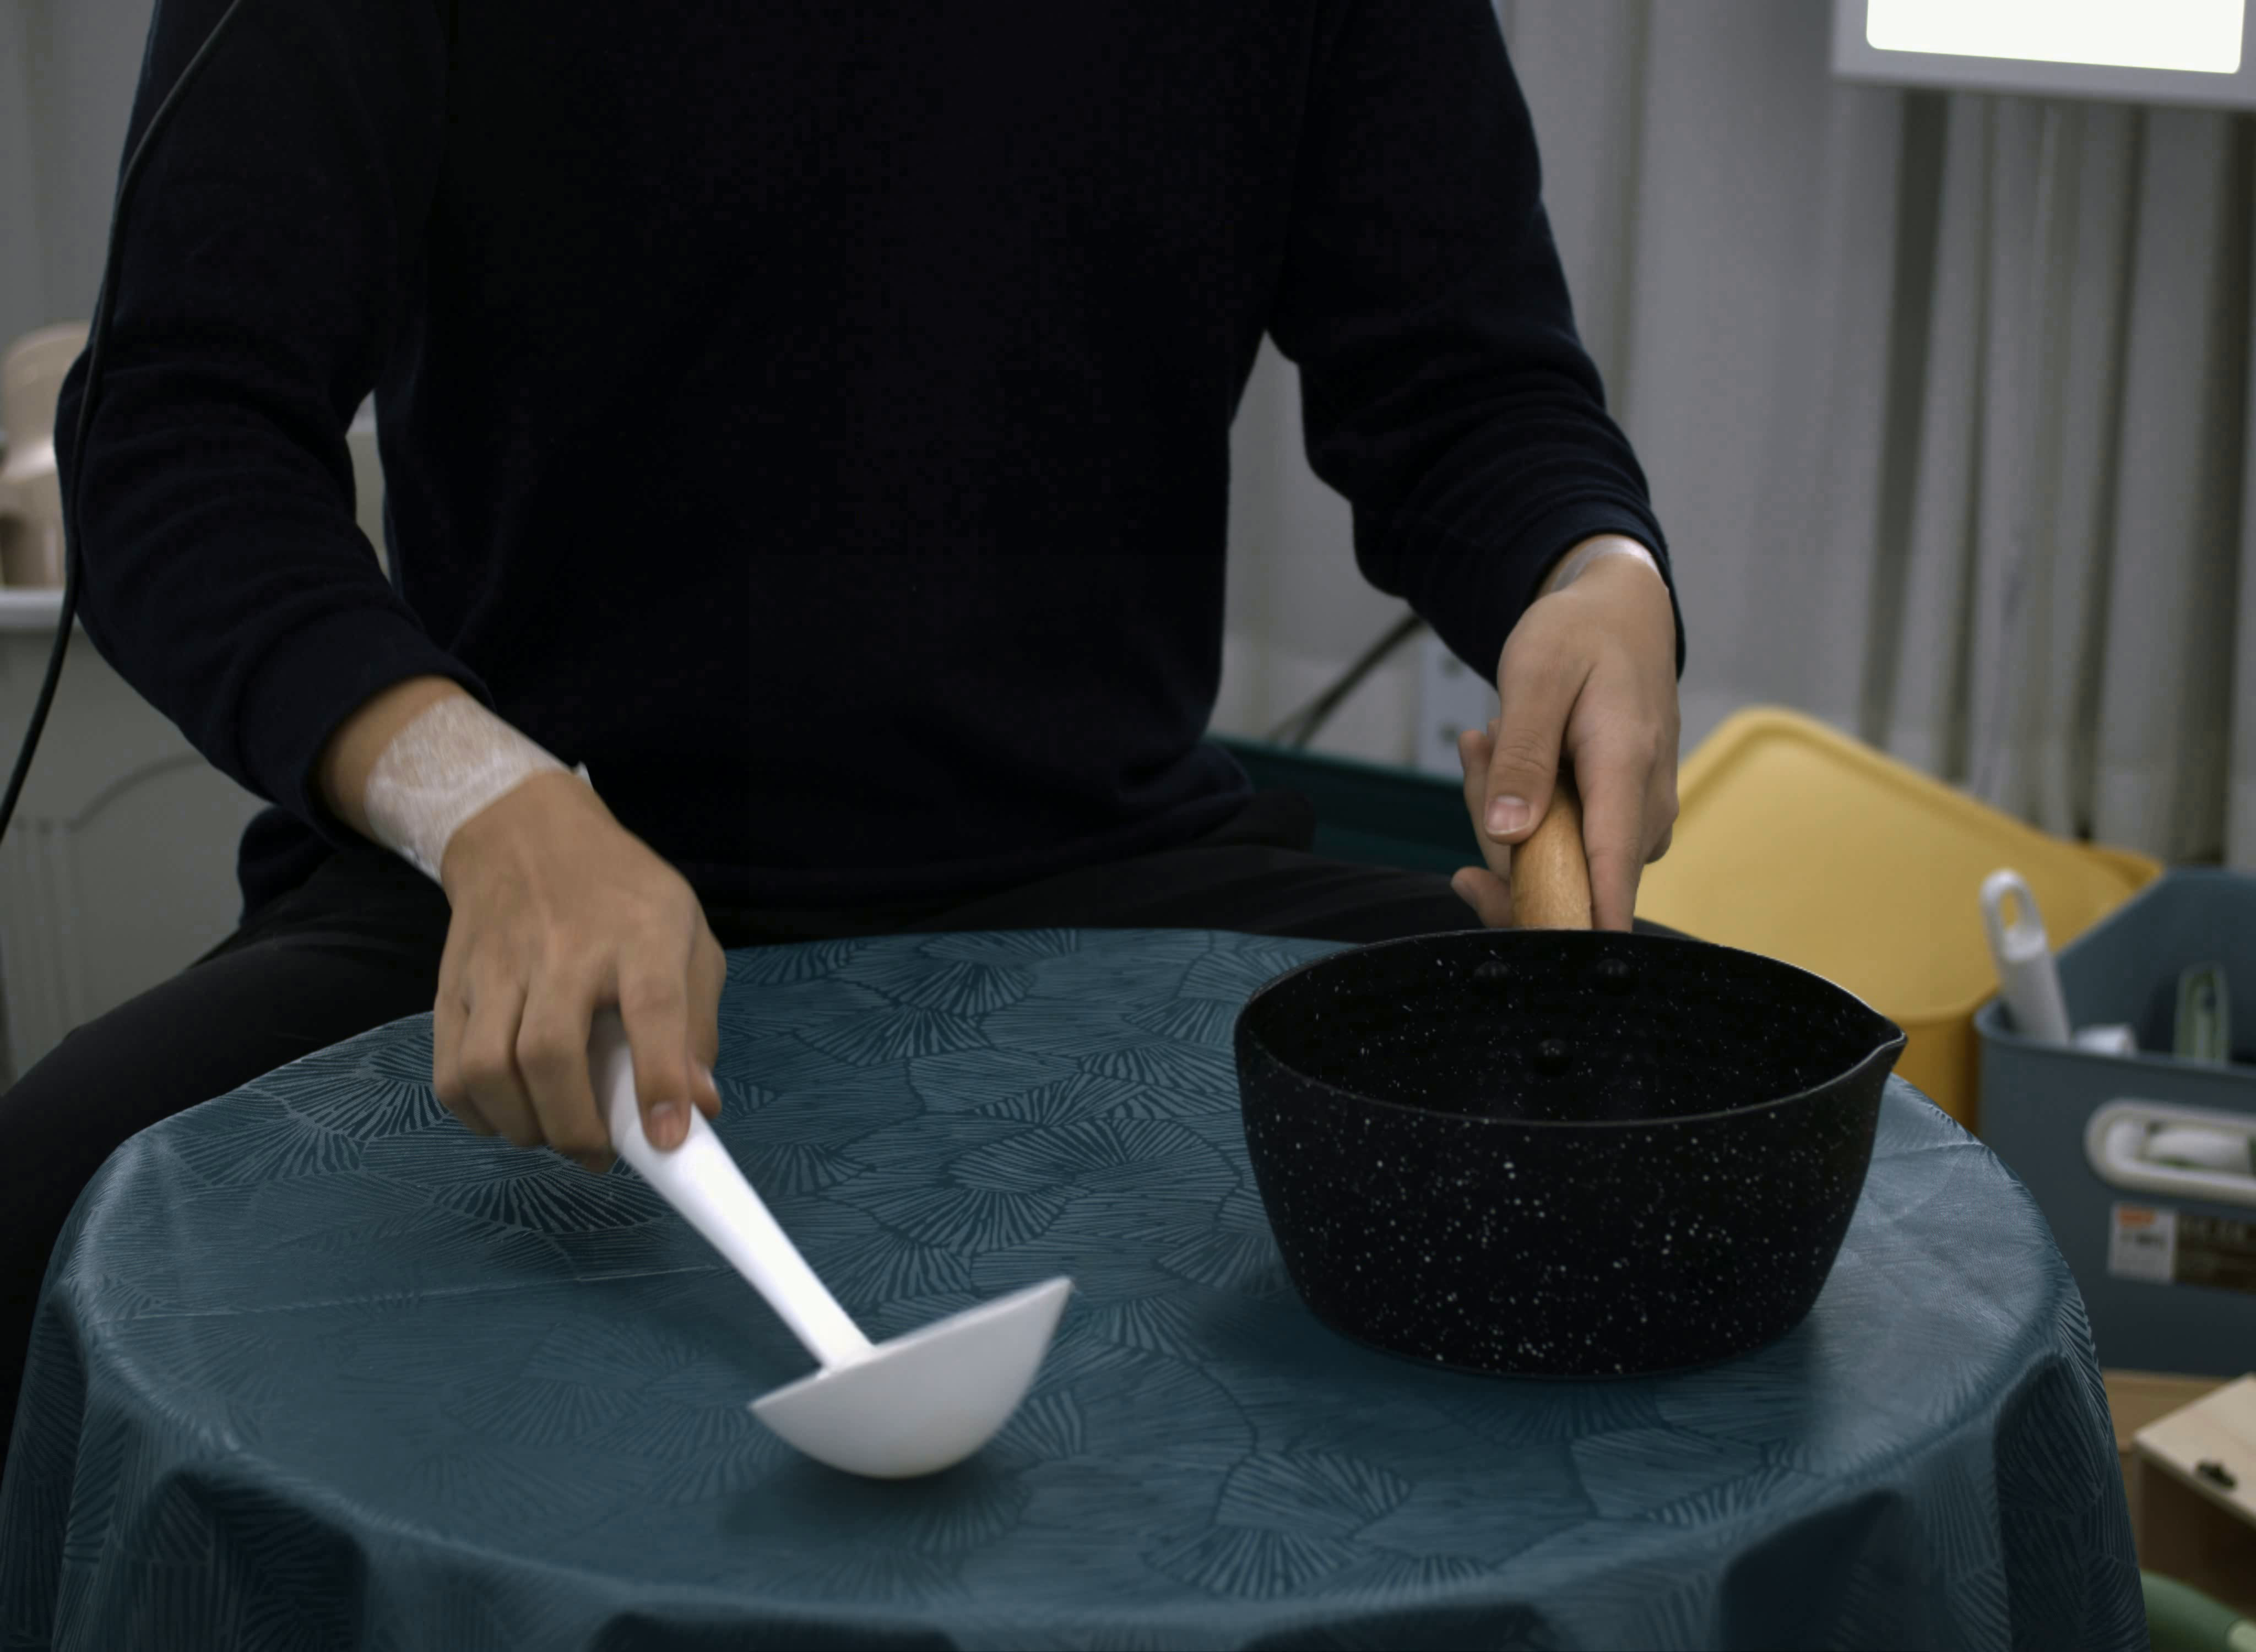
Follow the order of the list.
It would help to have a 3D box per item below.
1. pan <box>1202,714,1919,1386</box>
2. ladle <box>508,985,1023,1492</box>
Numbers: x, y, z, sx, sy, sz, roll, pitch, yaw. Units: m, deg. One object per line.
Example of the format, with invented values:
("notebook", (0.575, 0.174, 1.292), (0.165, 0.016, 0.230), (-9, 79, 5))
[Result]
("pan", (0.127, 0.063, 1.602), (0.206, 0.109, 0.341), (0, 17, 2))
("ladle", (-0.115, 0.103, 1.477), (0.090, 0.071, 0.289), (-27, 34, -15))
